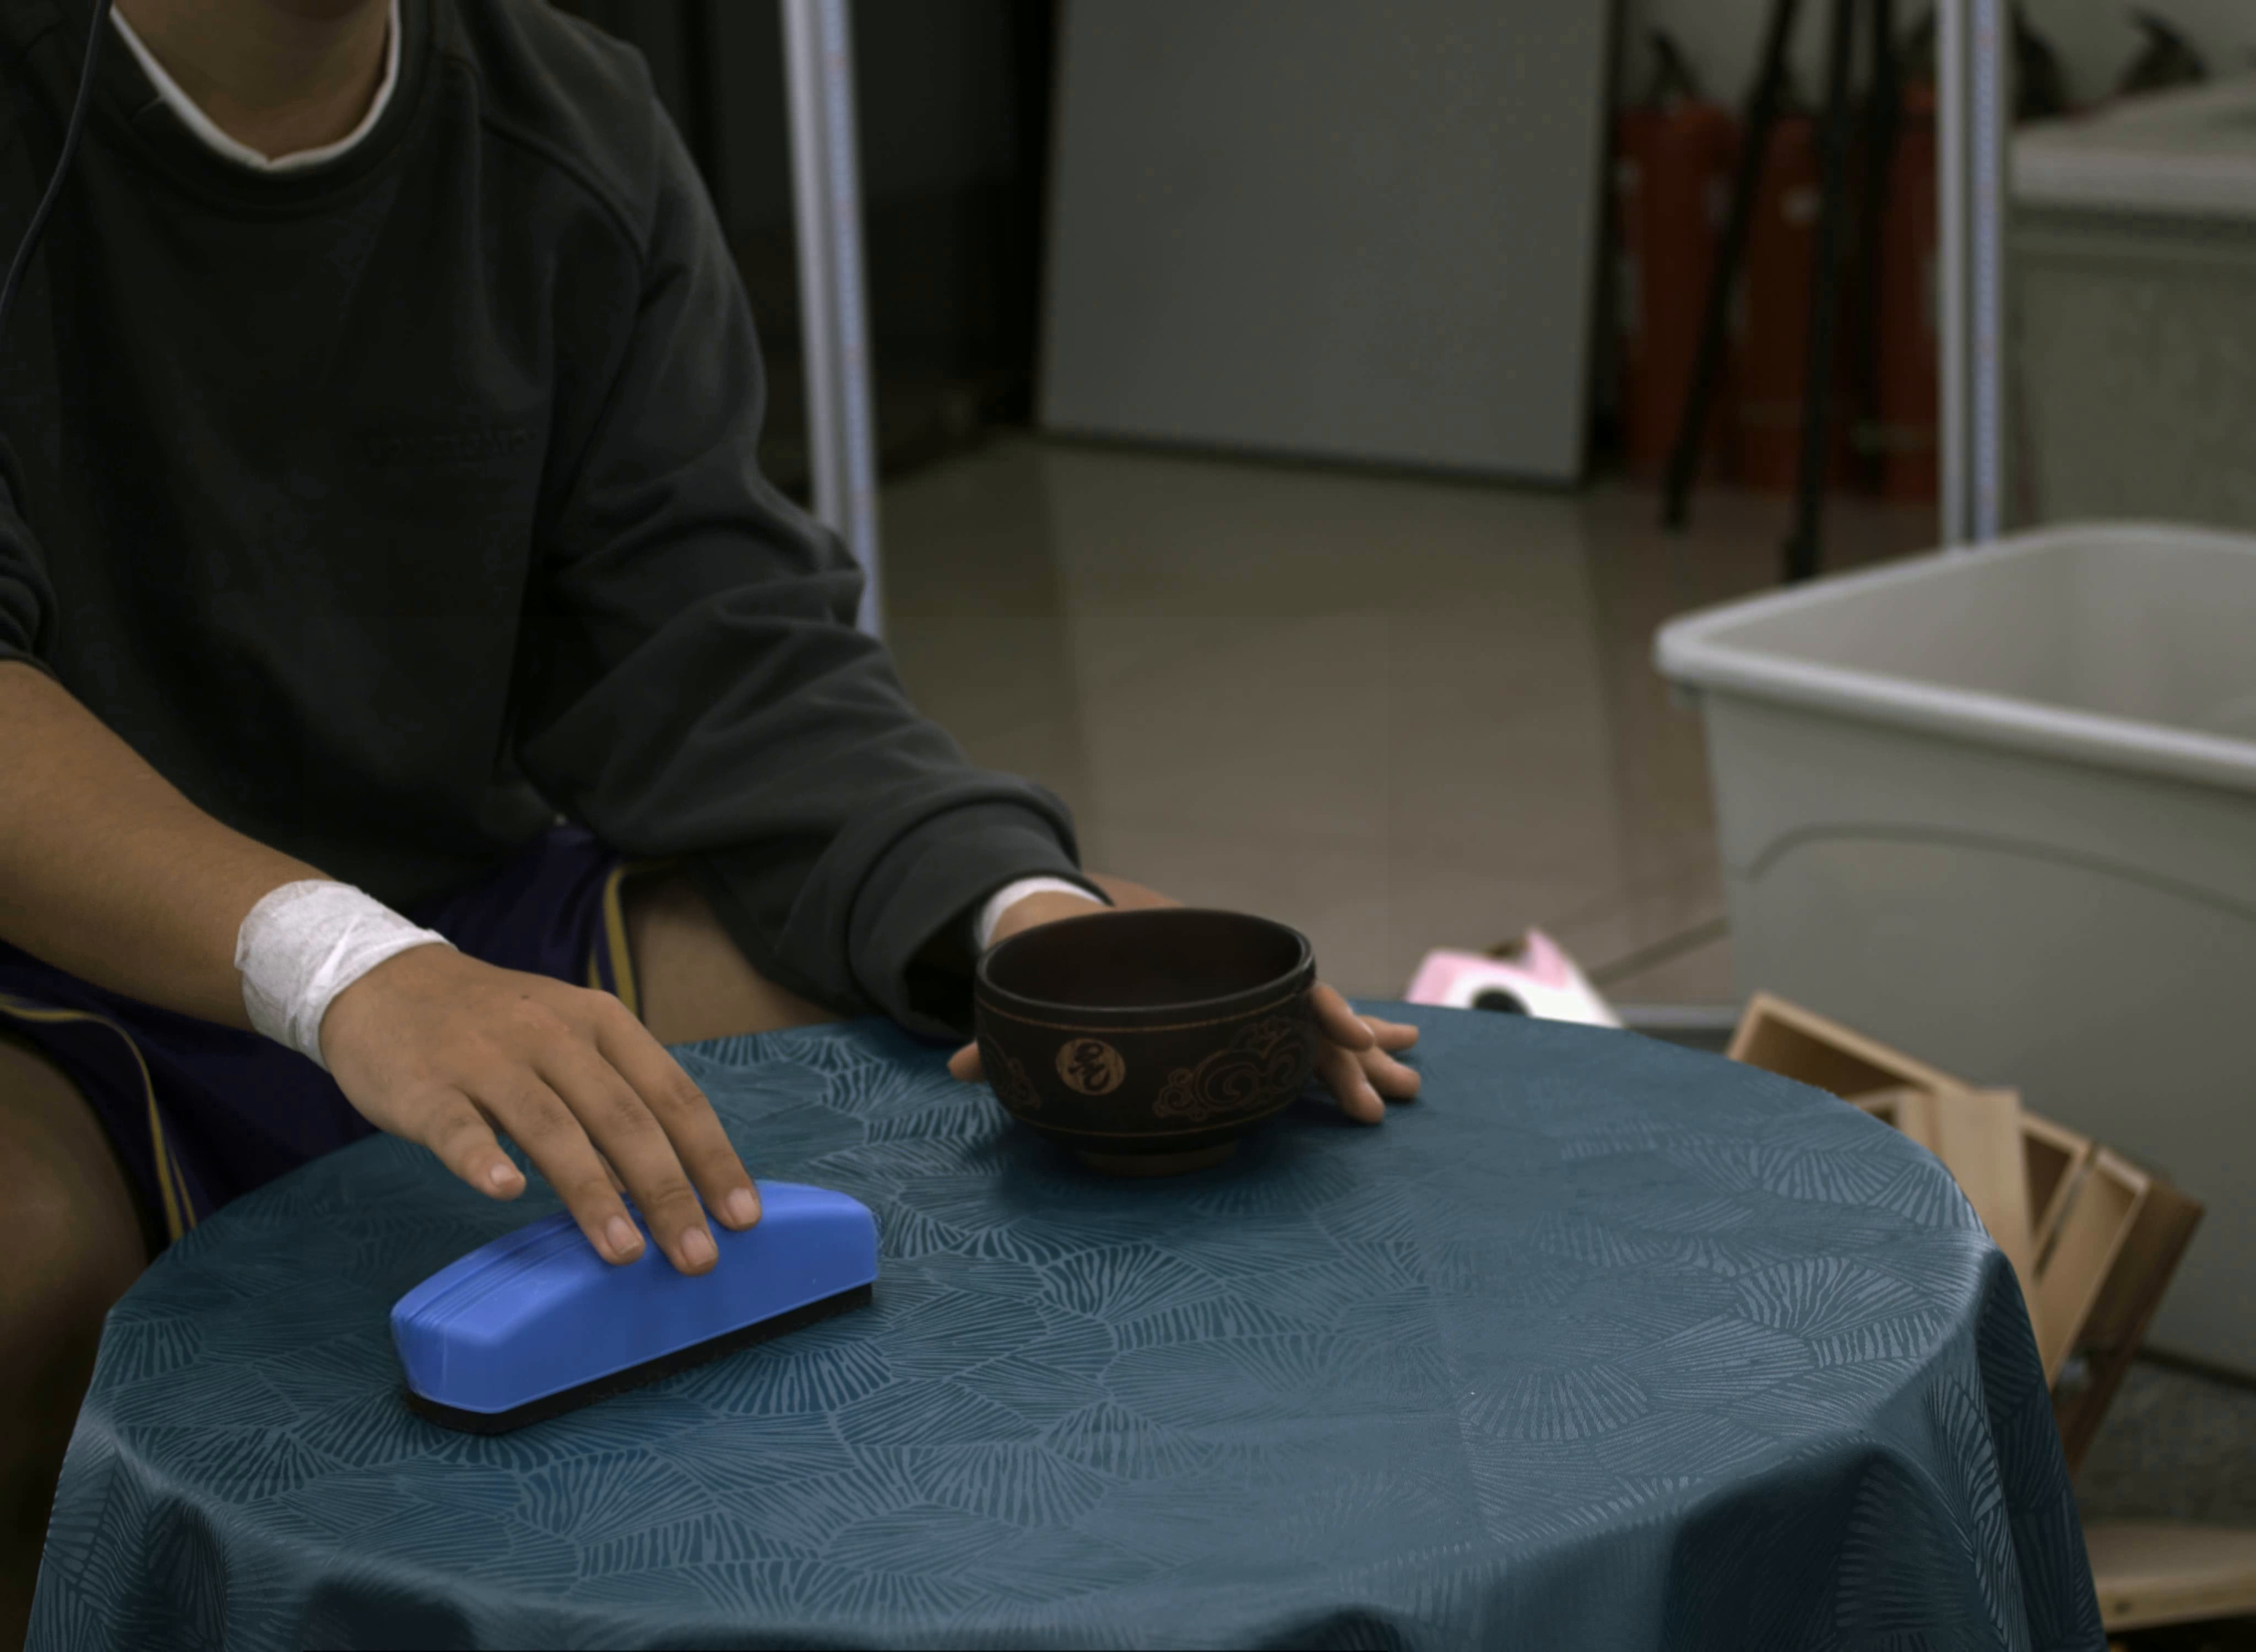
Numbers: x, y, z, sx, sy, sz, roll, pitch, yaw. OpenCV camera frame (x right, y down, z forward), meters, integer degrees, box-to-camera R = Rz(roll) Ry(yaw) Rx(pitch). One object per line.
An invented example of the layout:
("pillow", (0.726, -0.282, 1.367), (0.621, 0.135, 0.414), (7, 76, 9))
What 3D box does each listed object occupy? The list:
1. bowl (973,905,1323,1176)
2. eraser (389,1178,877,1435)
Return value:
("bowl", (0.008, 0.075, 1.798), (0.116, 0.070, 0.118), (-5, 15, 0))
("eraser", (-0.149, 0.139, 1.640), (0.159, 0.048, 0.054), (-16, 21, -42))
